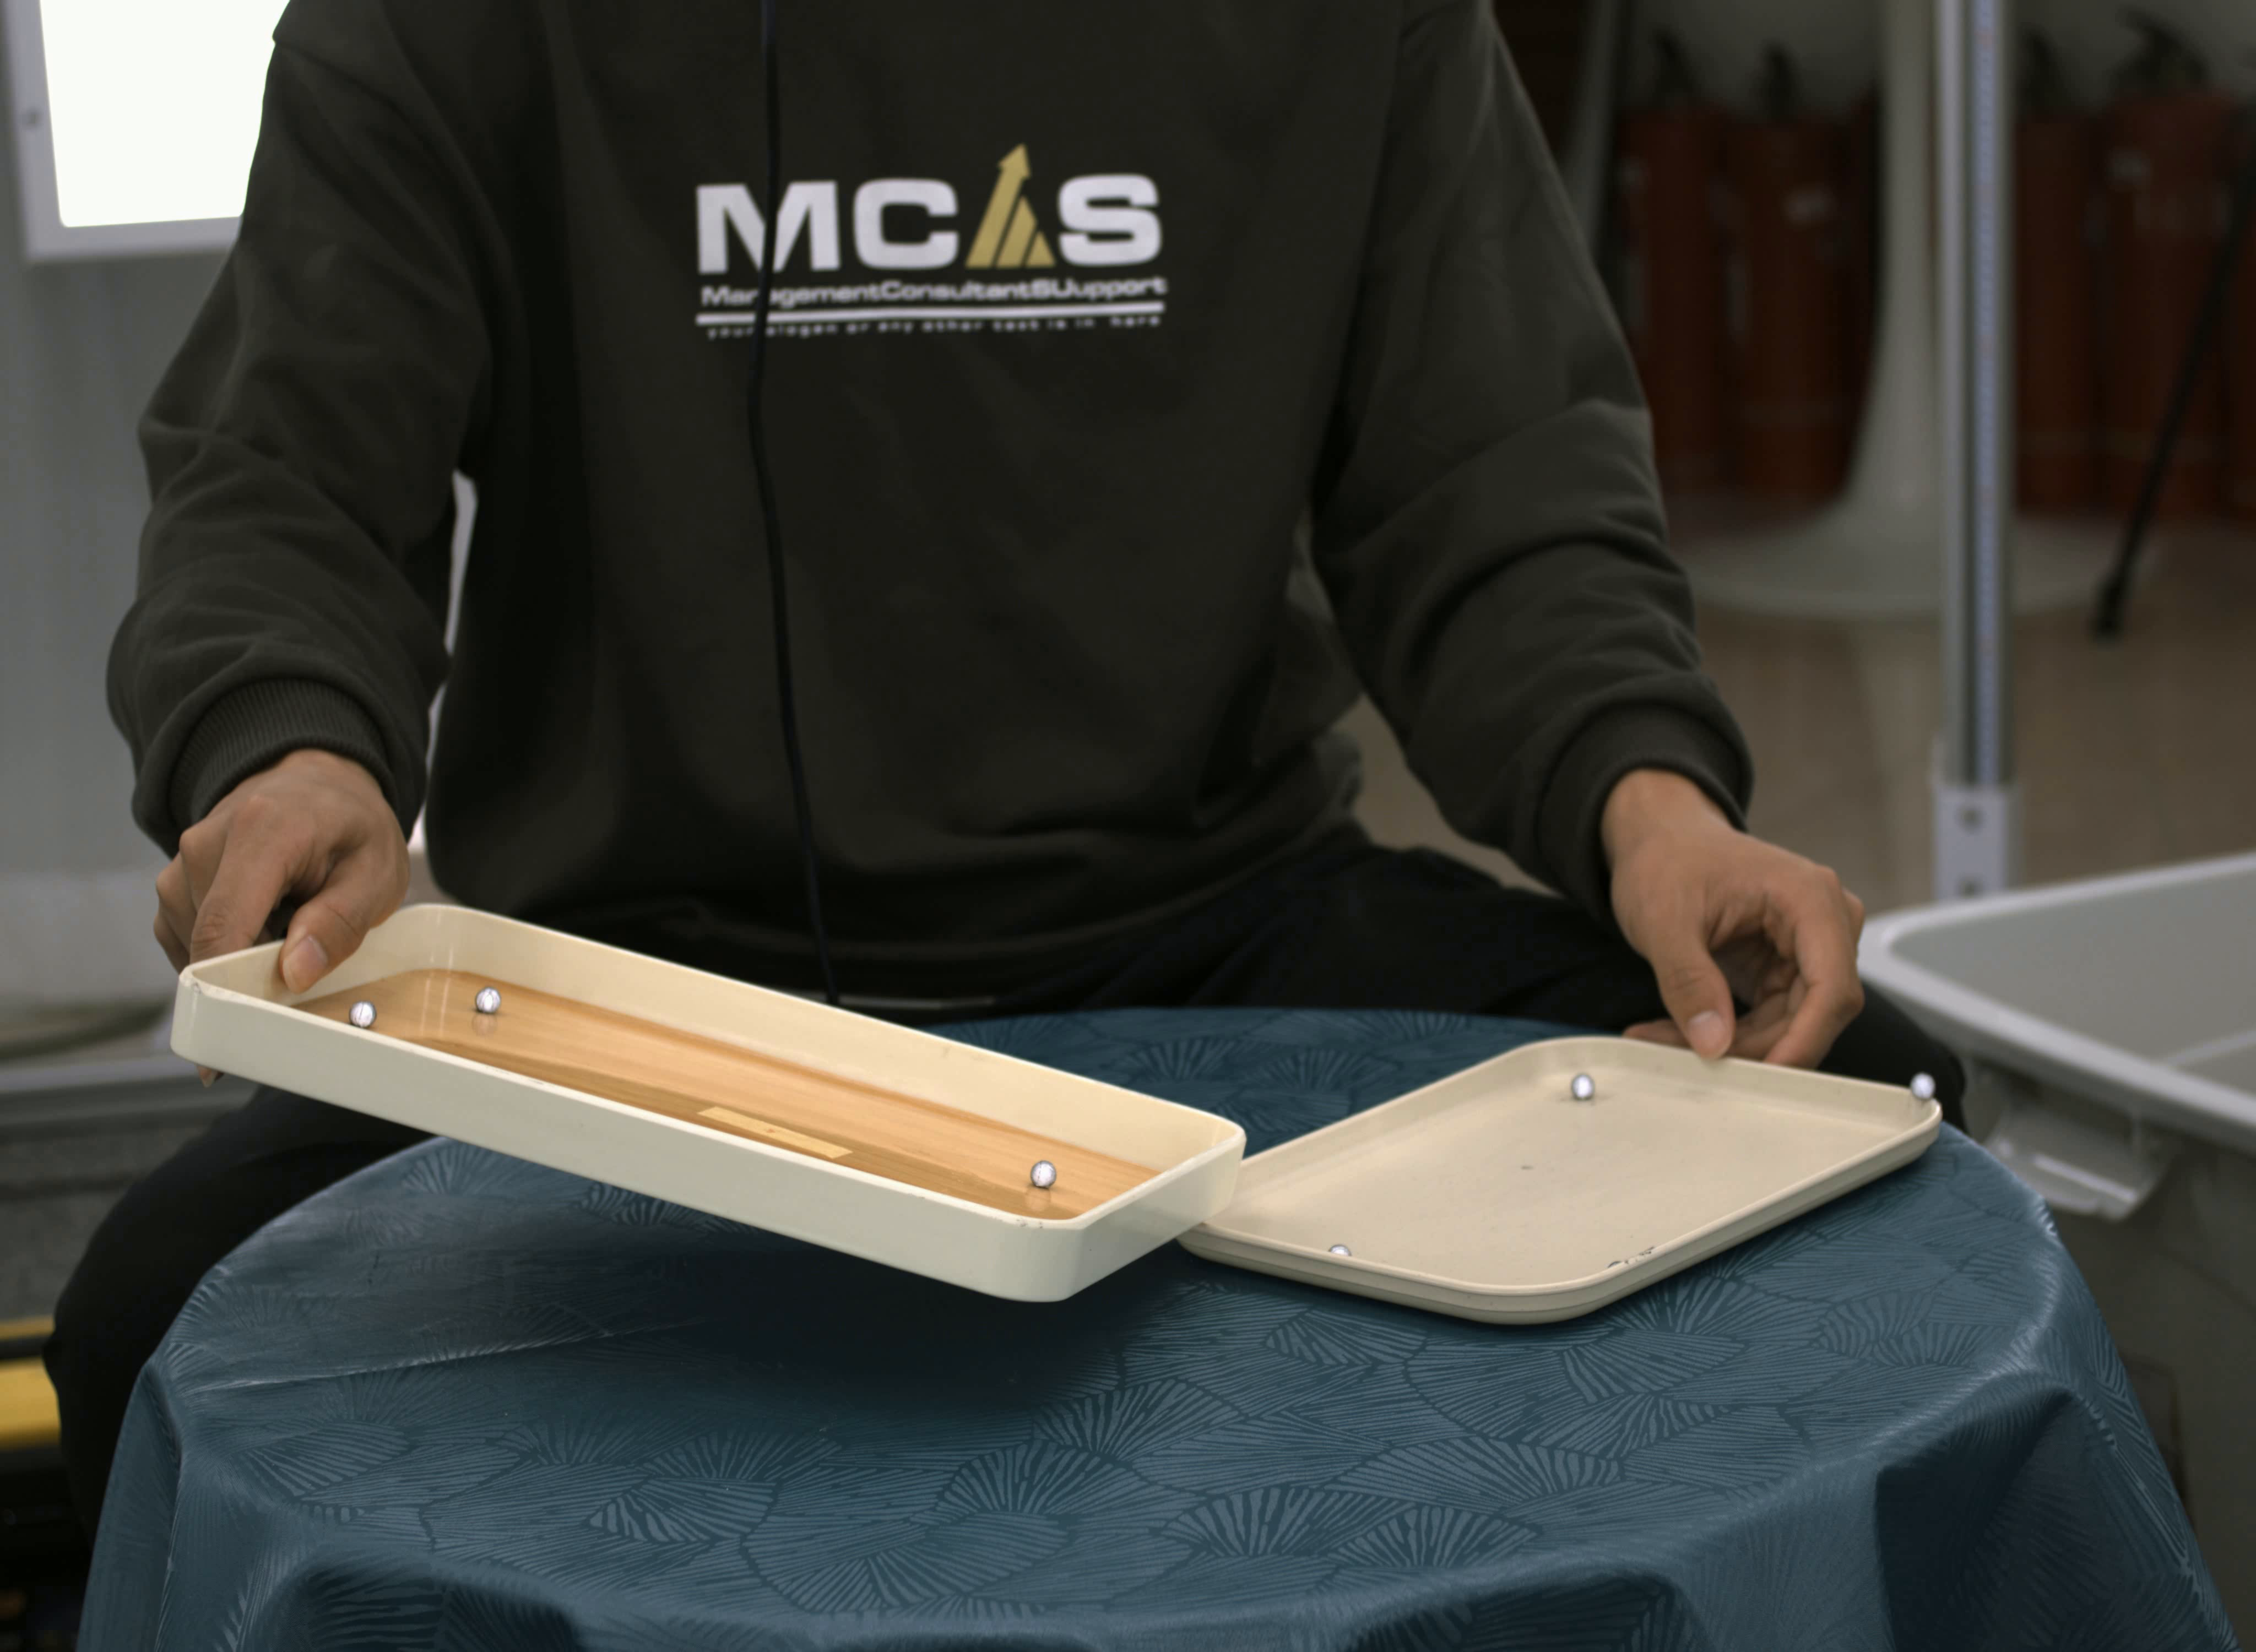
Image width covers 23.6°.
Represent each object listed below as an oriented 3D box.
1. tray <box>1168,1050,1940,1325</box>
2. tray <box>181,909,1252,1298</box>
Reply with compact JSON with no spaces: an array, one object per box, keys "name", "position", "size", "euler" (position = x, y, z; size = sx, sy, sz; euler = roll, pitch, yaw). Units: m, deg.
[{"name":"tray","position":[0.139,0.115,1.730],"size":[0.173,0.017,0.235],"euler":[7,17,42]},{"name":"tray","position":[-0.125,0.083,1.676],"size":[0.300,0.028,0.189],"euler":[15,10,19]}]
